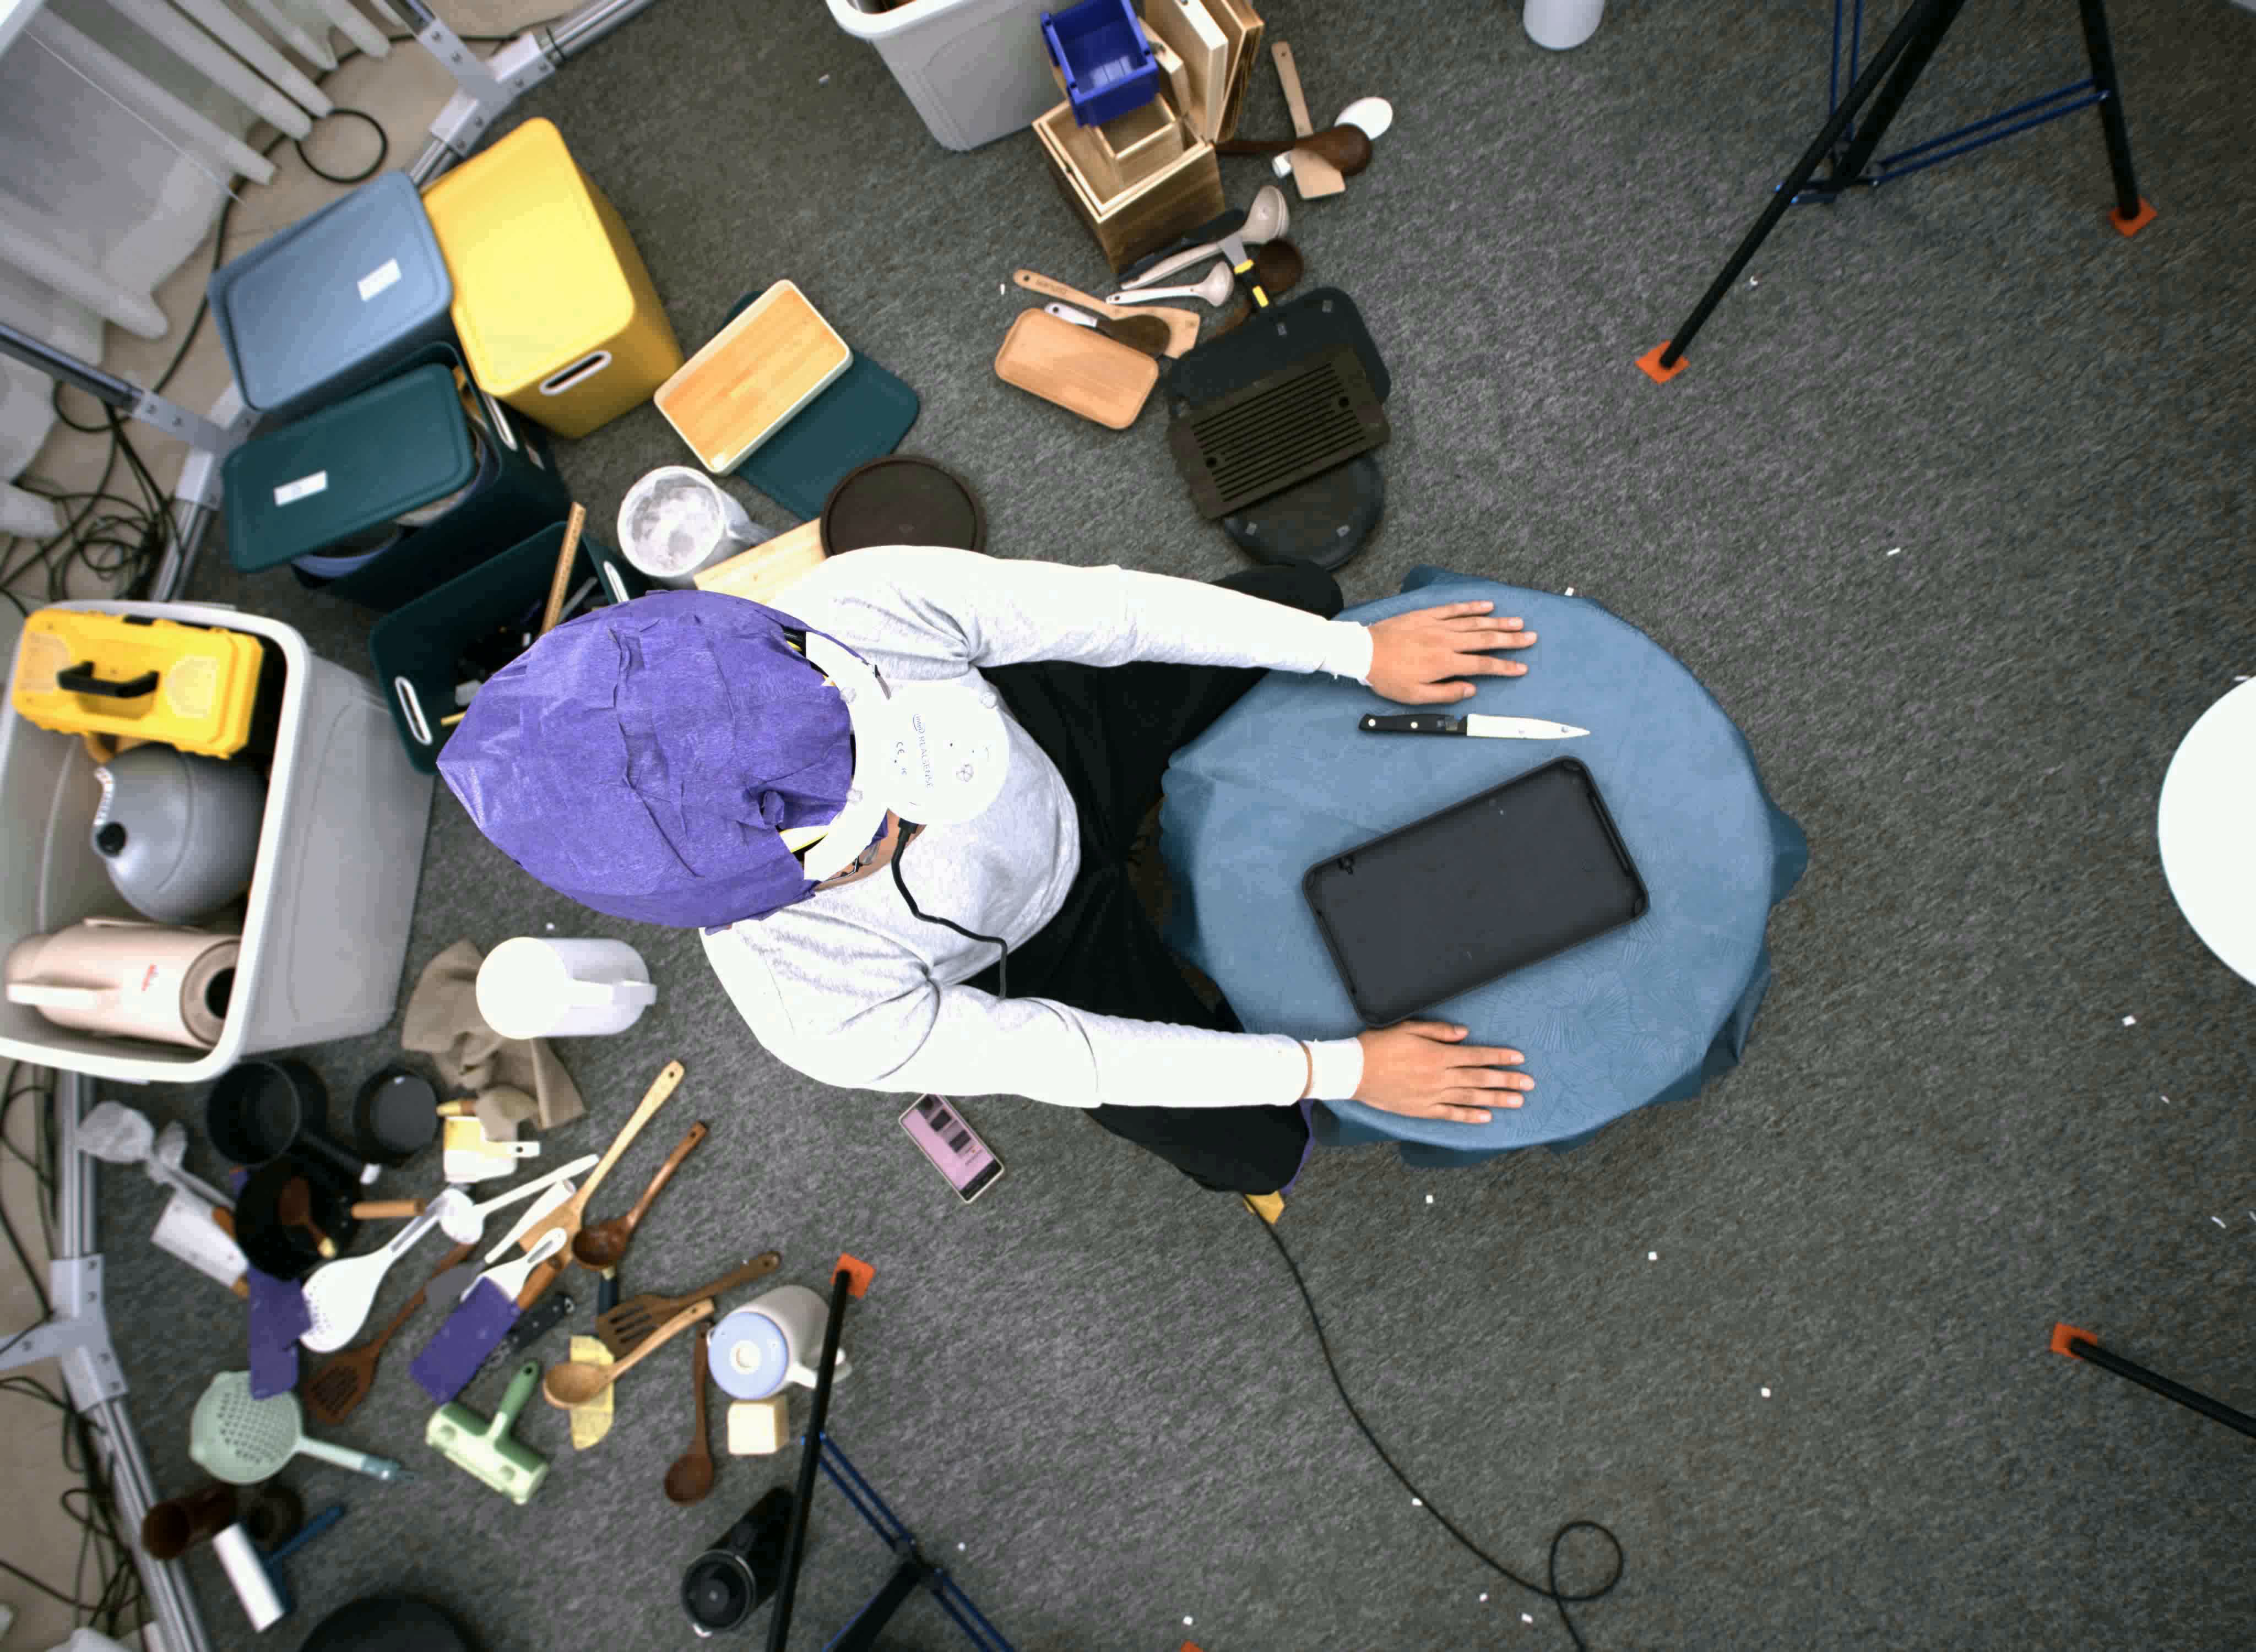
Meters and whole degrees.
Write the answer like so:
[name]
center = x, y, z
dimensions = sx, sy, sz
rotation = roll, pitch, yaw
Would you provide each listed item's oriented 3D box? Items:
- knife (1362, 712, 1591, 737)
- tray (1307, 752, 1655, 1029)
[knife]
center = 0.366, -0.108, 1.446
dimensions = 0.239, 0.016, 0.024
rotation = 2, 90, 8
[tray]
center = 0.361, 0.066, 1.425
dimensions = 0.320, 0.037, 0.183
rotation = -26, 82, 9
